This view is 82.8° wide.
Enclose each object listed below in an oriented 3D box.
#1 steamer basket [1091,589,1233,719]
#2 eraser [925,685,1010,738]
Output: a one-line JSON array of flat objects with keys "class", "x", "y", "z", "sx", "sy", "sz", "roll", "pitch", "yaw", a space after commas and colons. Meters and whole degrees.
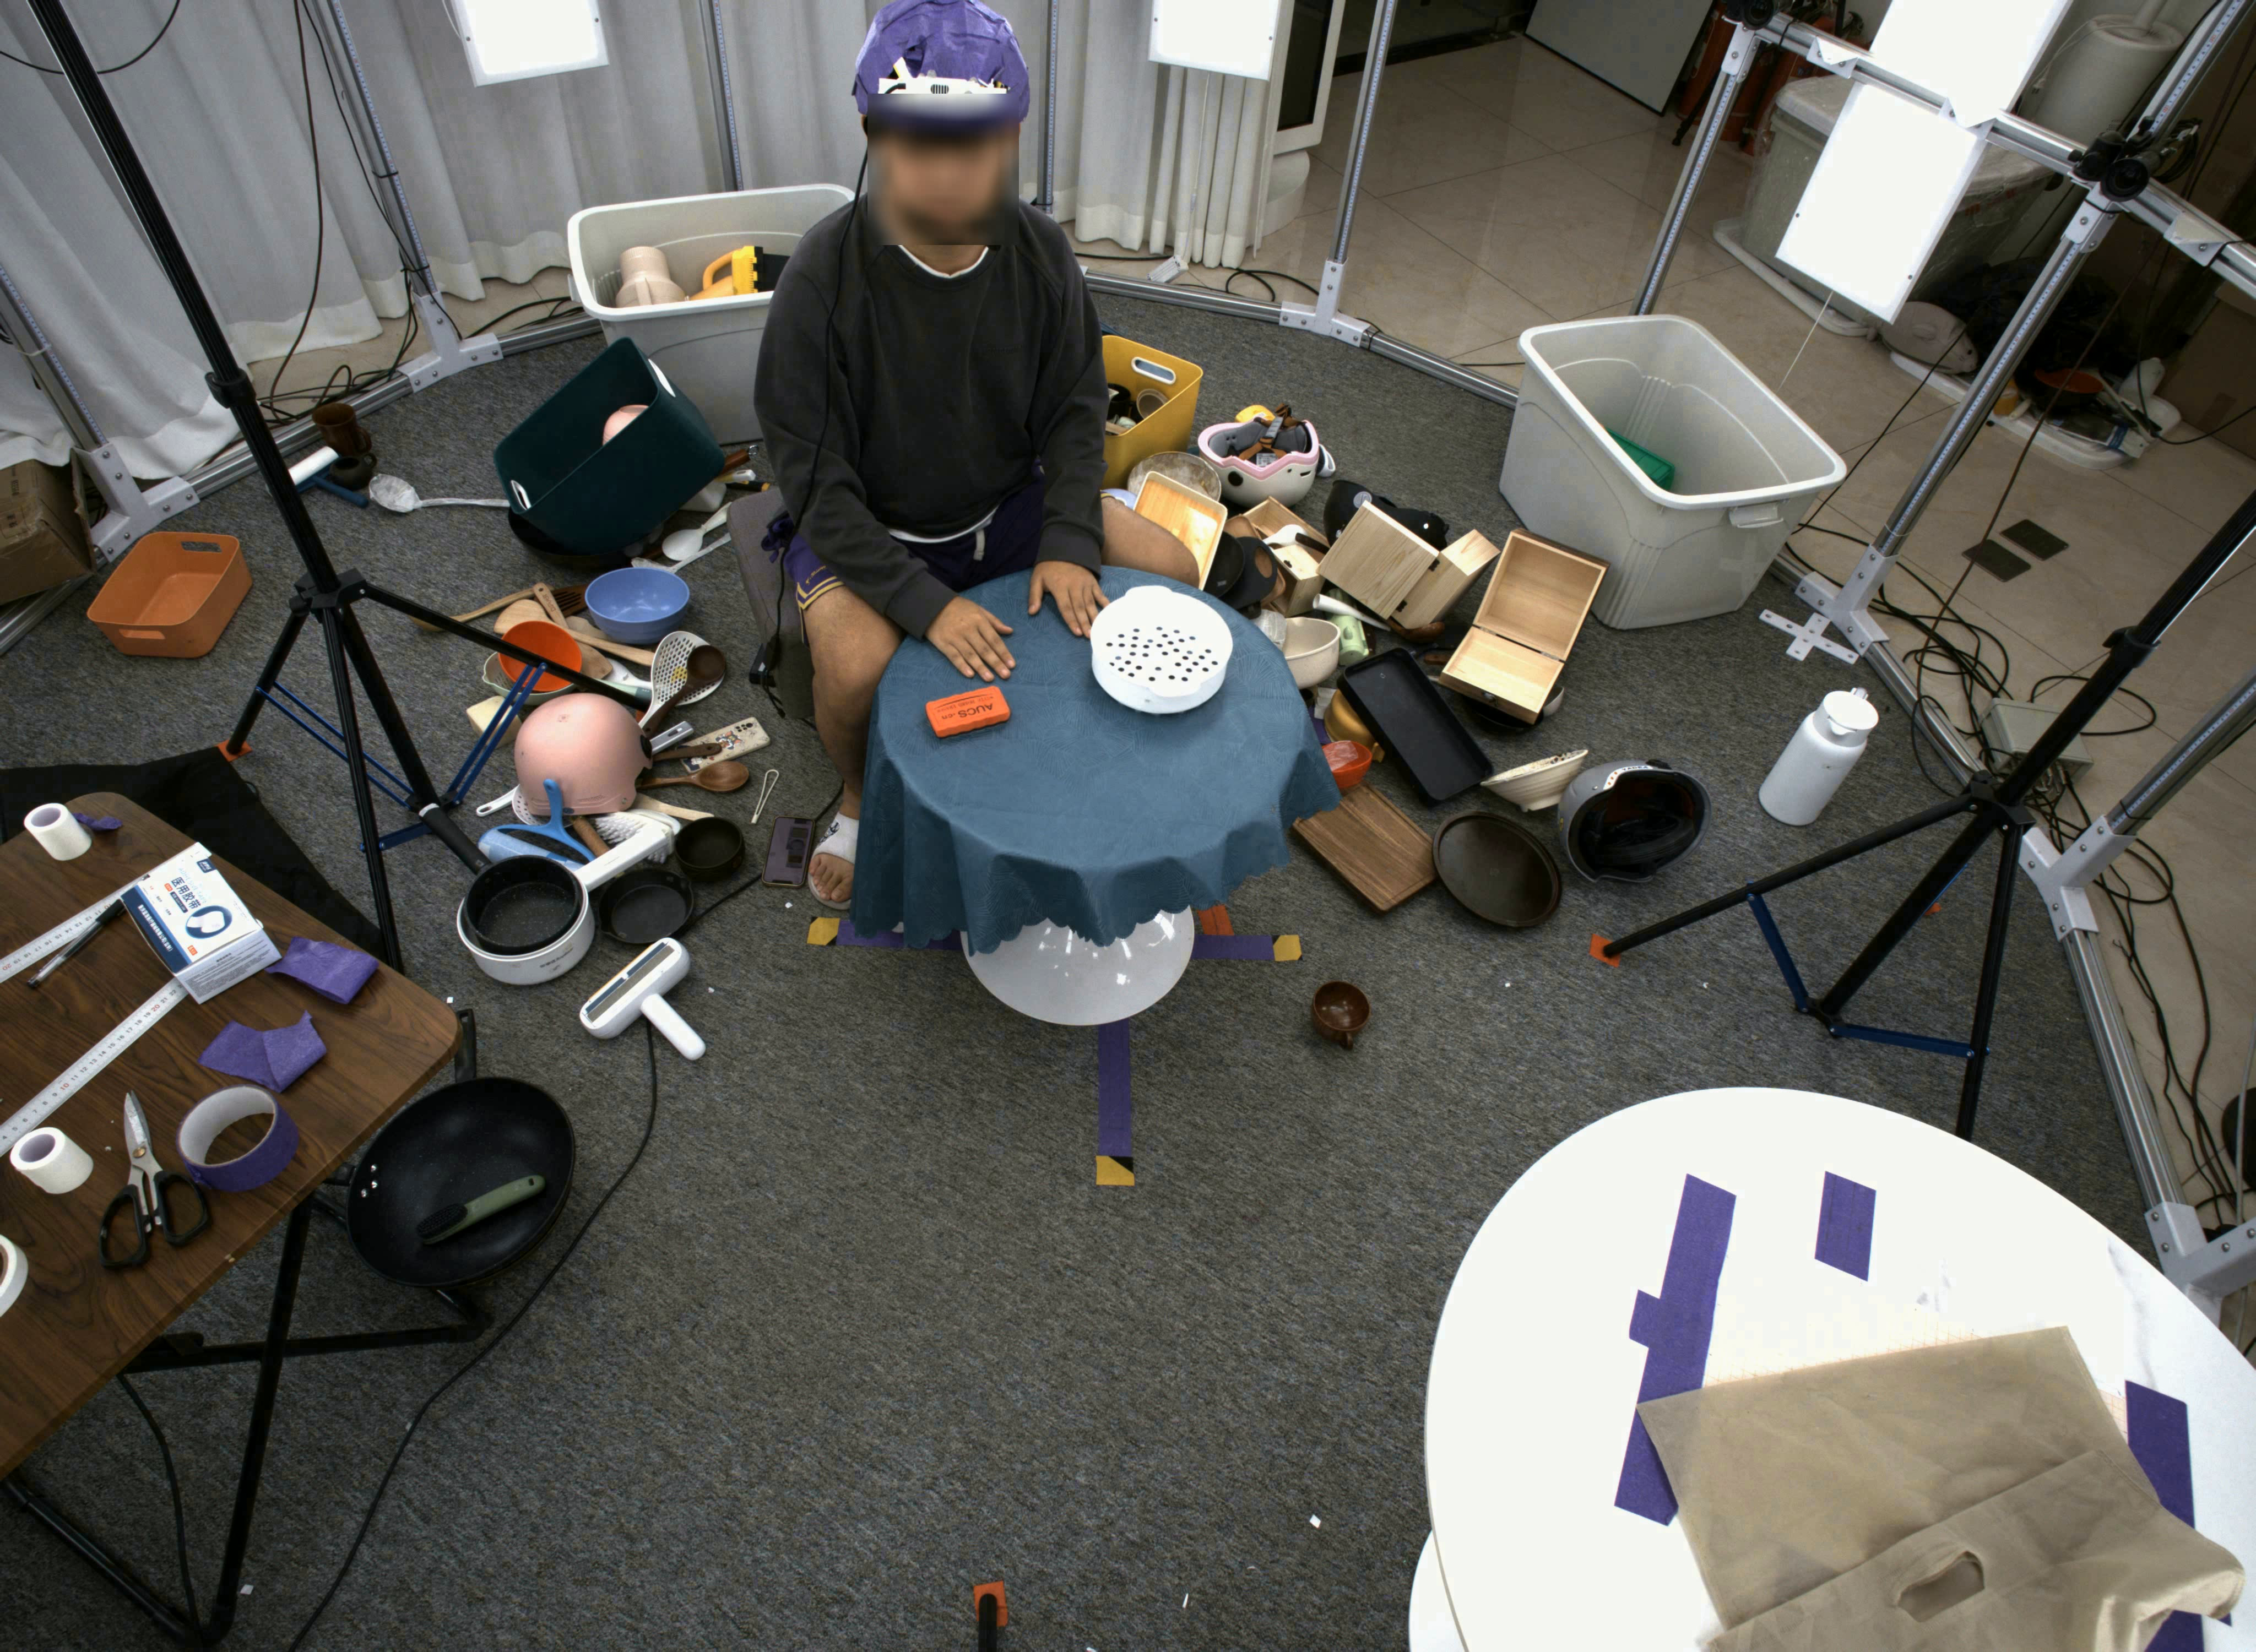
[{"class": "steamer basket", "x": 0.047, "y": -0.243, "z": 1.839, "sx": 0.201, "sy": 0.067, "sz": 0.236, "roll": -6, "pitch": 50, "yaw": -9}, {"class": "eraser", "x": -0.221, "y": -0.158, "z": 1.769, "sx": 0.108, "sy": 0.022, "sz": 0.060, "roll": -18, "pitch": 47, "yaw": -17}]
